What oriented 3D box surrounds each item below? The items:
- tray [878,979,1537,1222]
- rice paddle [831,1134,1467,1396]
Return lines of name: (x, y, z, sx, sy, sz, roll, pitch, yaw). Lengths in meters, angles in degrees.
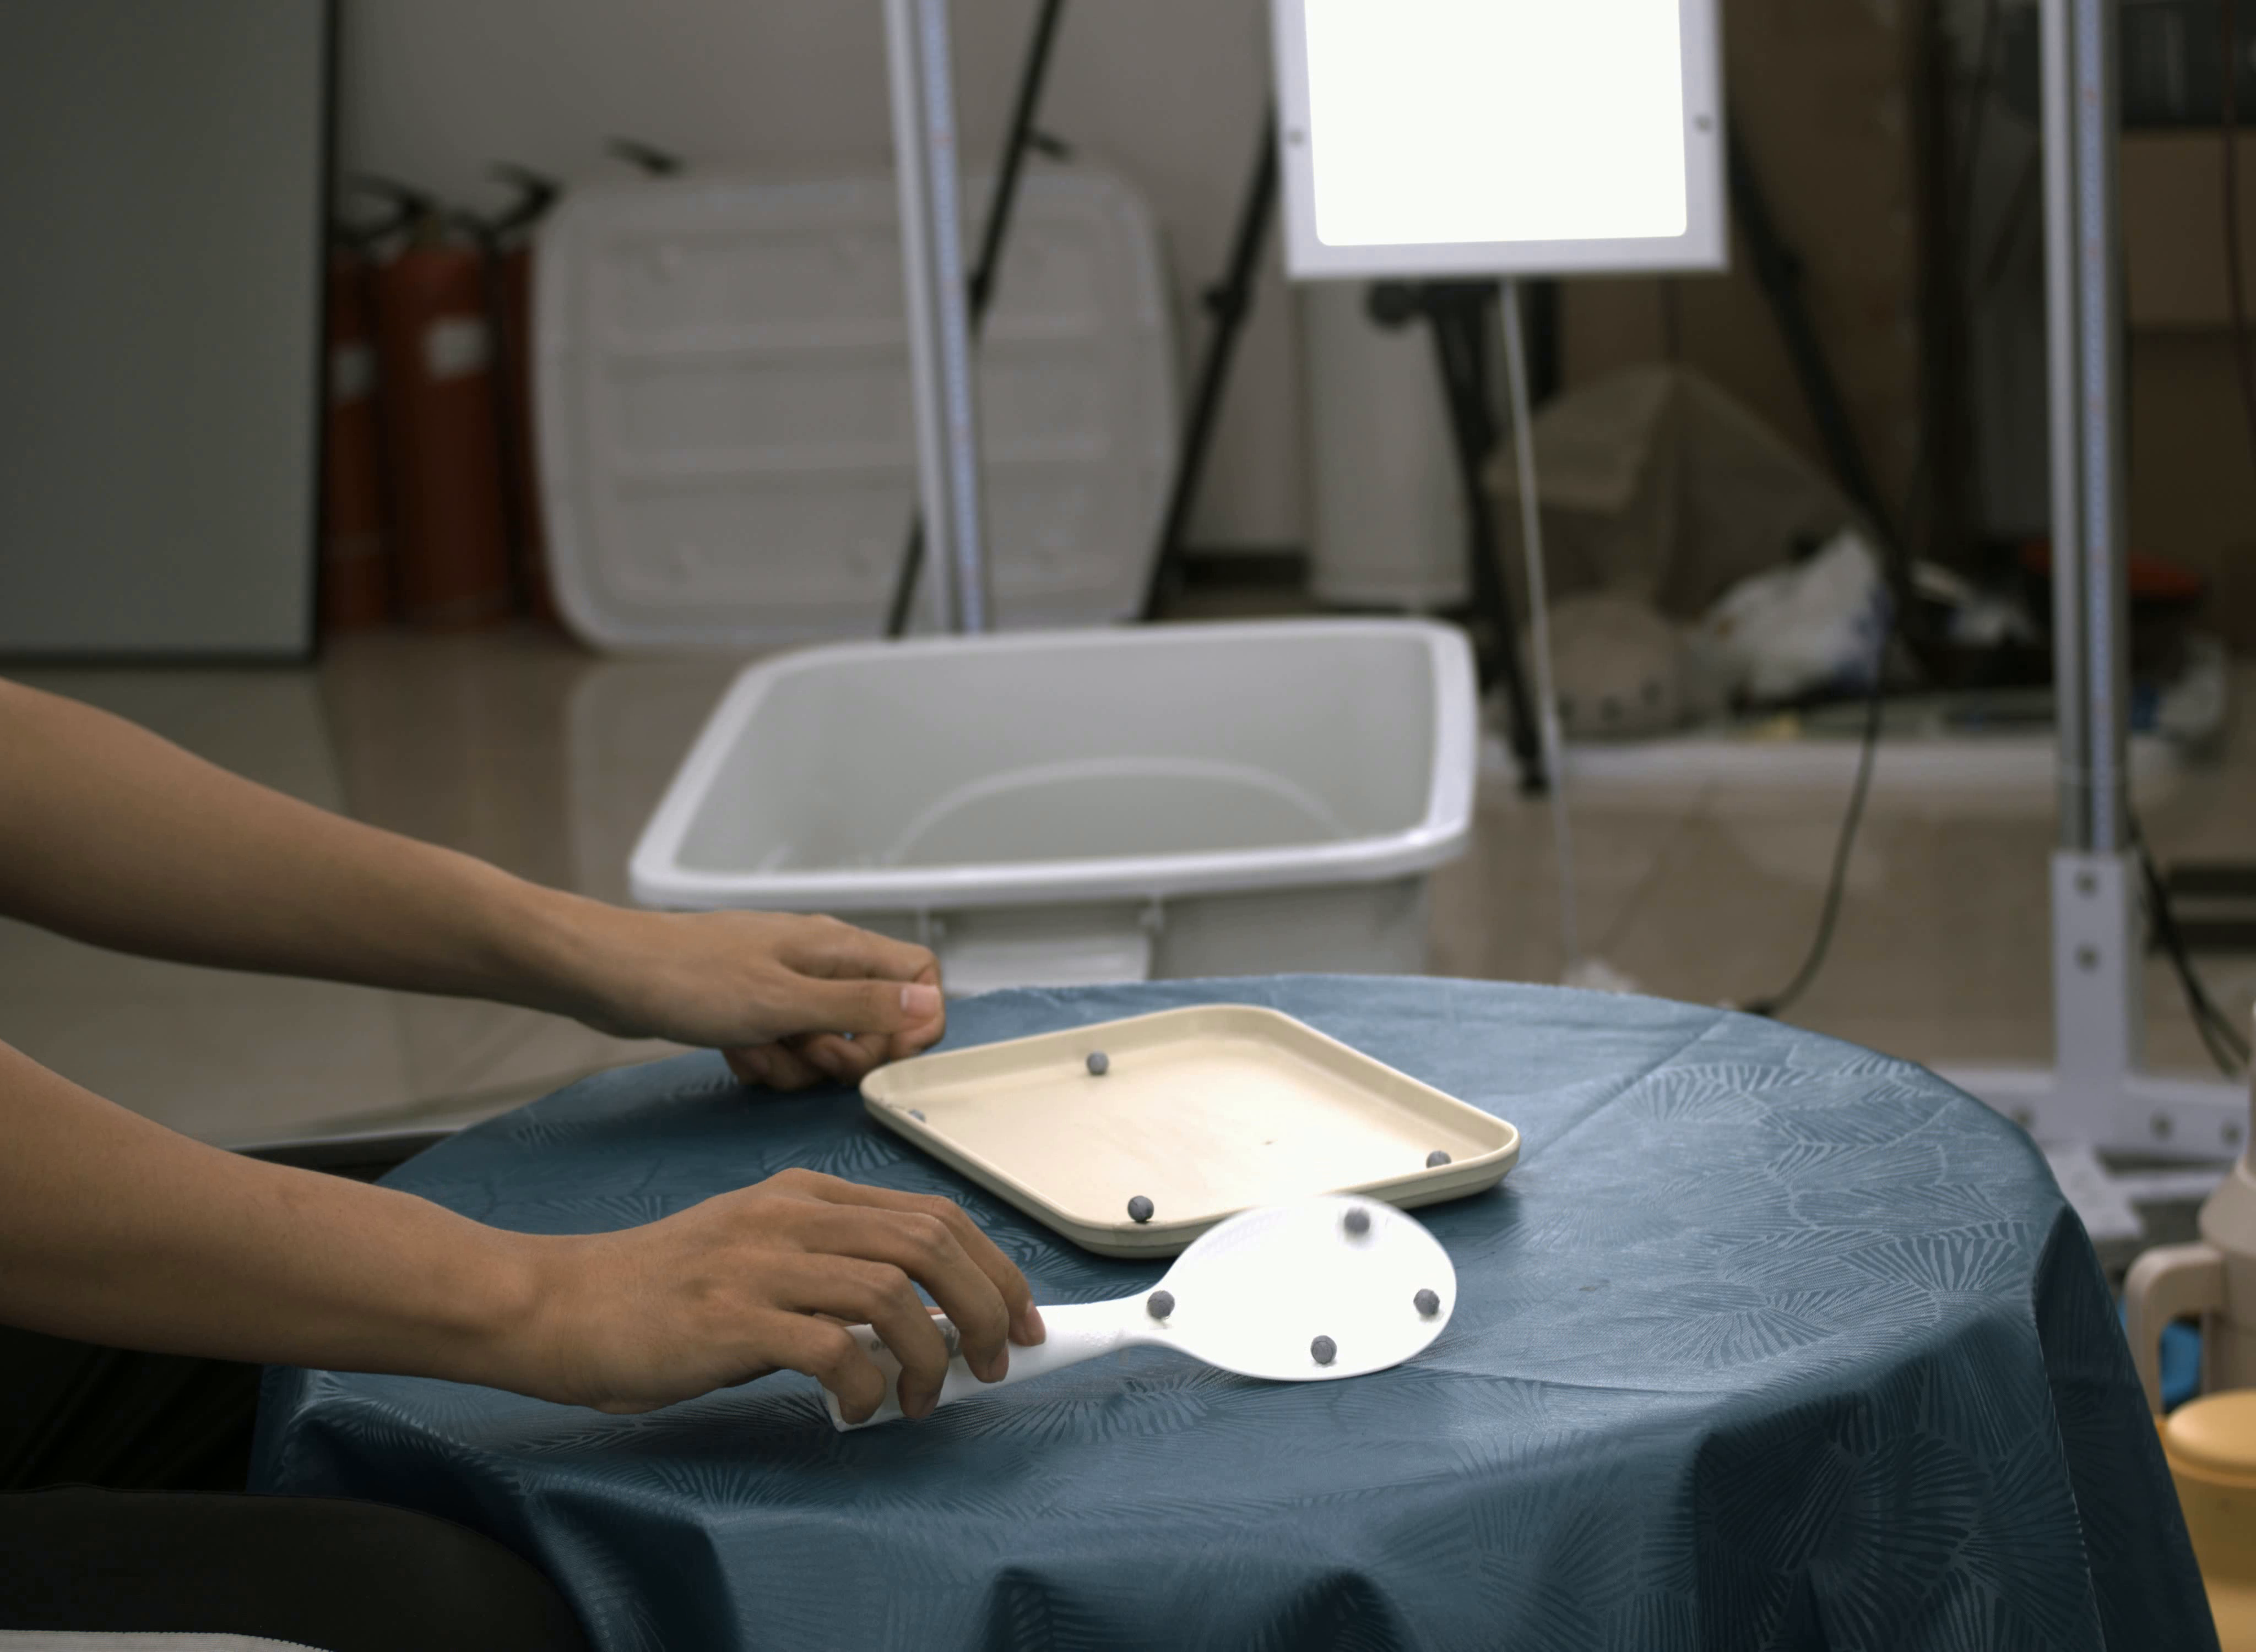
tray: (0.025, 0.096, 1.951, 0.168, 0.017, 0.243, -10, 14, -22)
rice paddle: (0.010, 0.139, 1.712, 0.203, 0.069, 0.029, -12, -28, -11)
